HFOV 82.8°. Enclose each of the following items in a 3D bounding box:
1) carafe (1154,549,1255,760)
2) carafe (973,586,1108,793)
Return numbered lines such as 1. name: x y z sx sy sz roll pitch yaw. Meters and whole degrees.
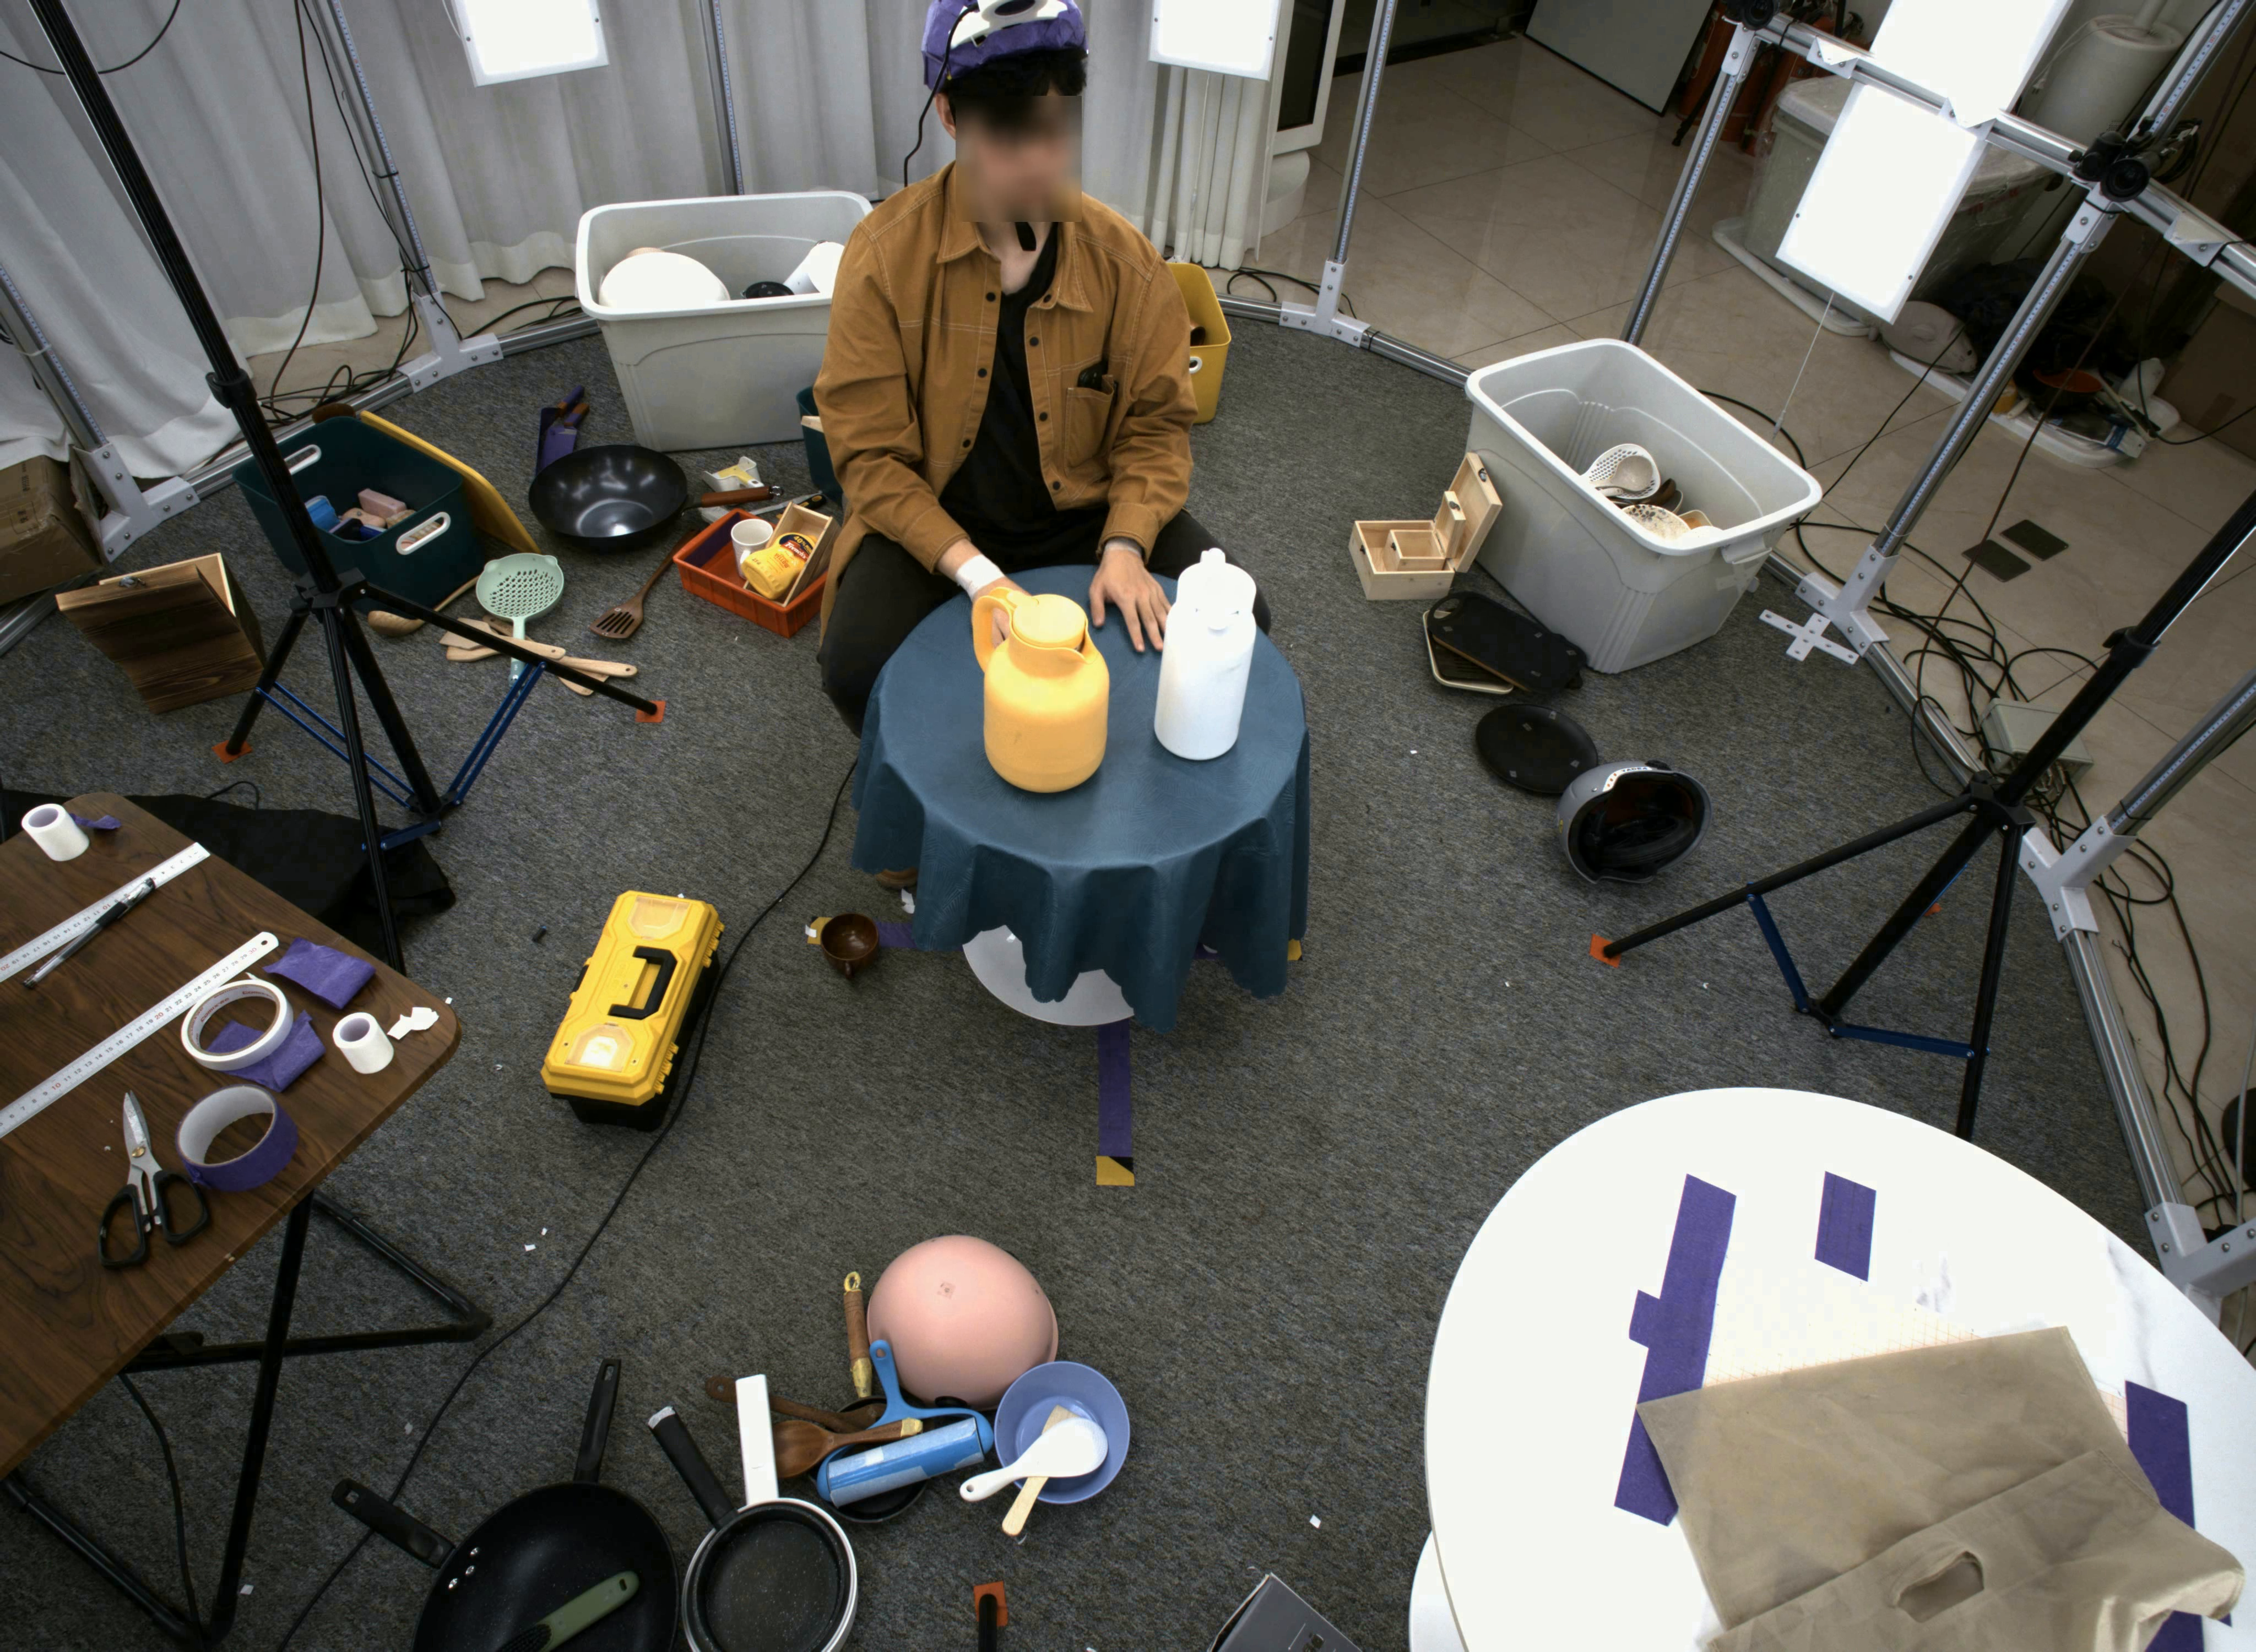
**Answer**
1. carafe: 0.100 -0.229 1.701 0.124 0.262 0.177 1 49 -1
2. carafe: -0.119 -0.186 1.654 0.205 0.254 0.165 39 55 24
